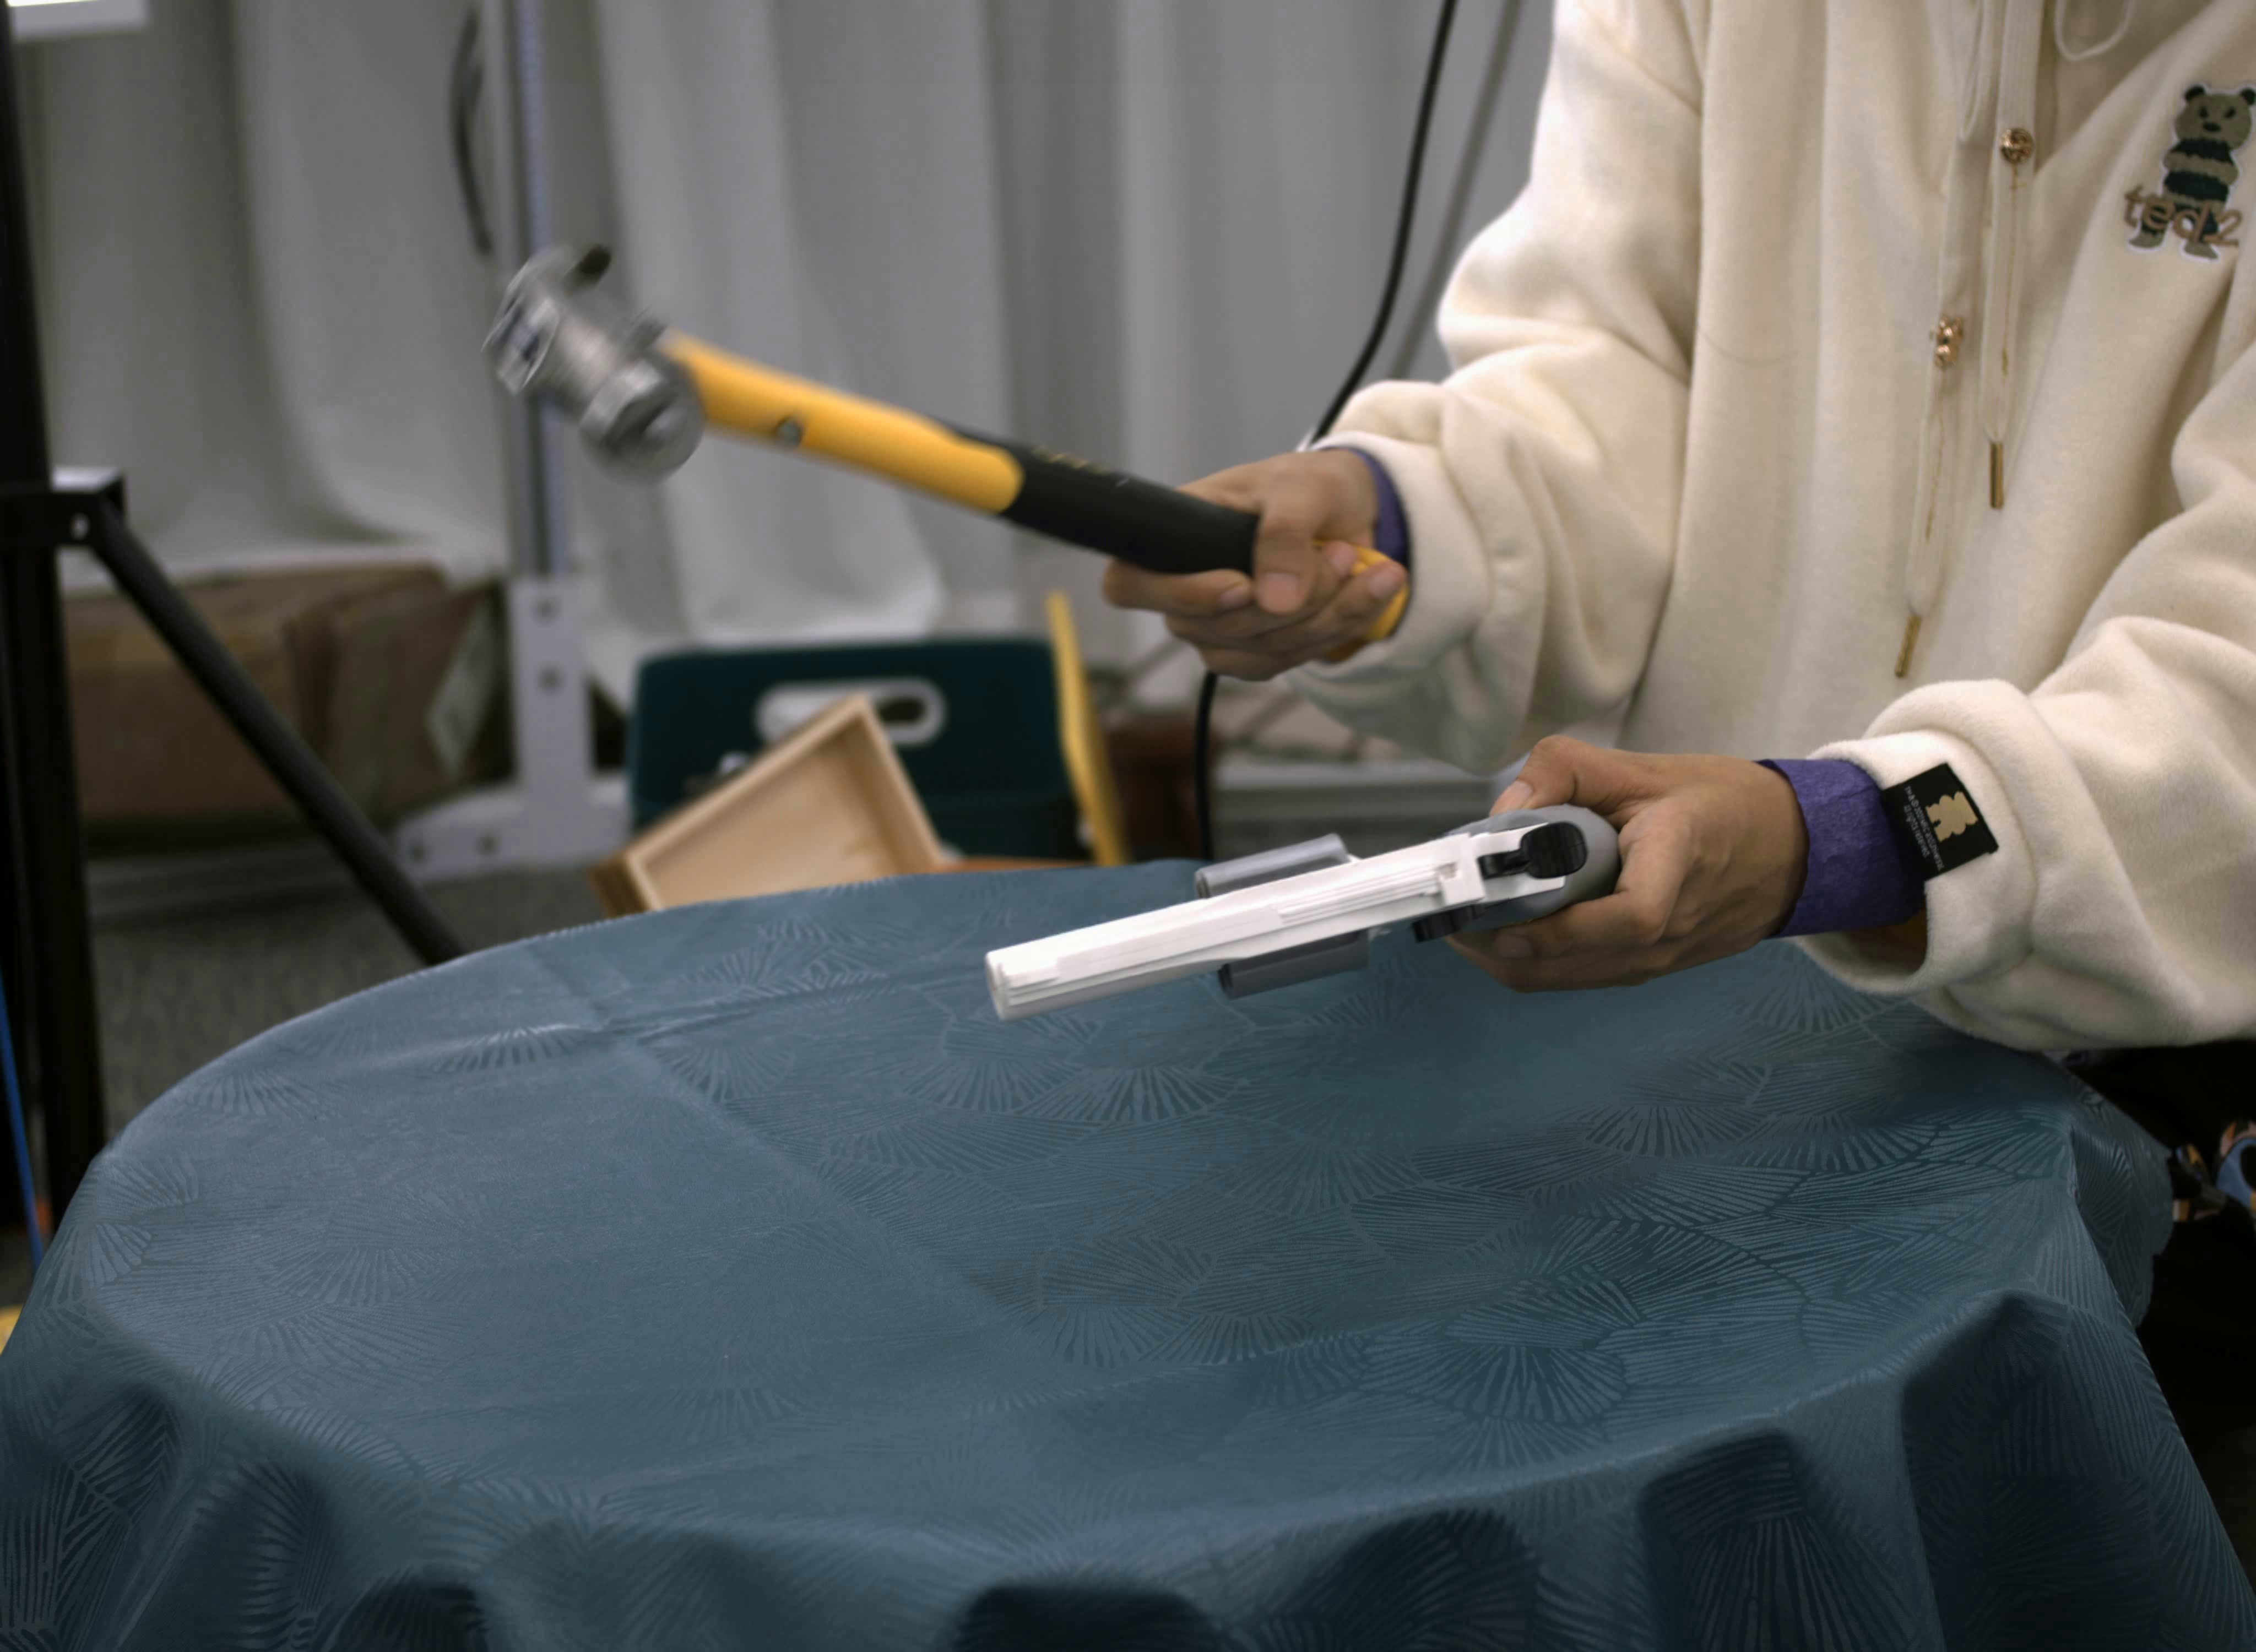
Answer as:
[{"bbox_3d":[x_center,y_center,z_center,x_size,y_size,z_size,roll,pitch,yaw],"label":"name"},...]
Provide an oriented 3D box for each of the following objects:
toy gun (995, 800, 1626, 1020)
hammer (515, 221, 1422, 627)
[{"bbox_3d":[0.057,0.024,1.499,0.207,0.039,0.142,-13,-3,-9],"label":"toy gun"},{"bbox_3d":[-0.040,-0.116,1.639,0.329,0.032,0.134,16,16,-36],"label":"hammer"}]
